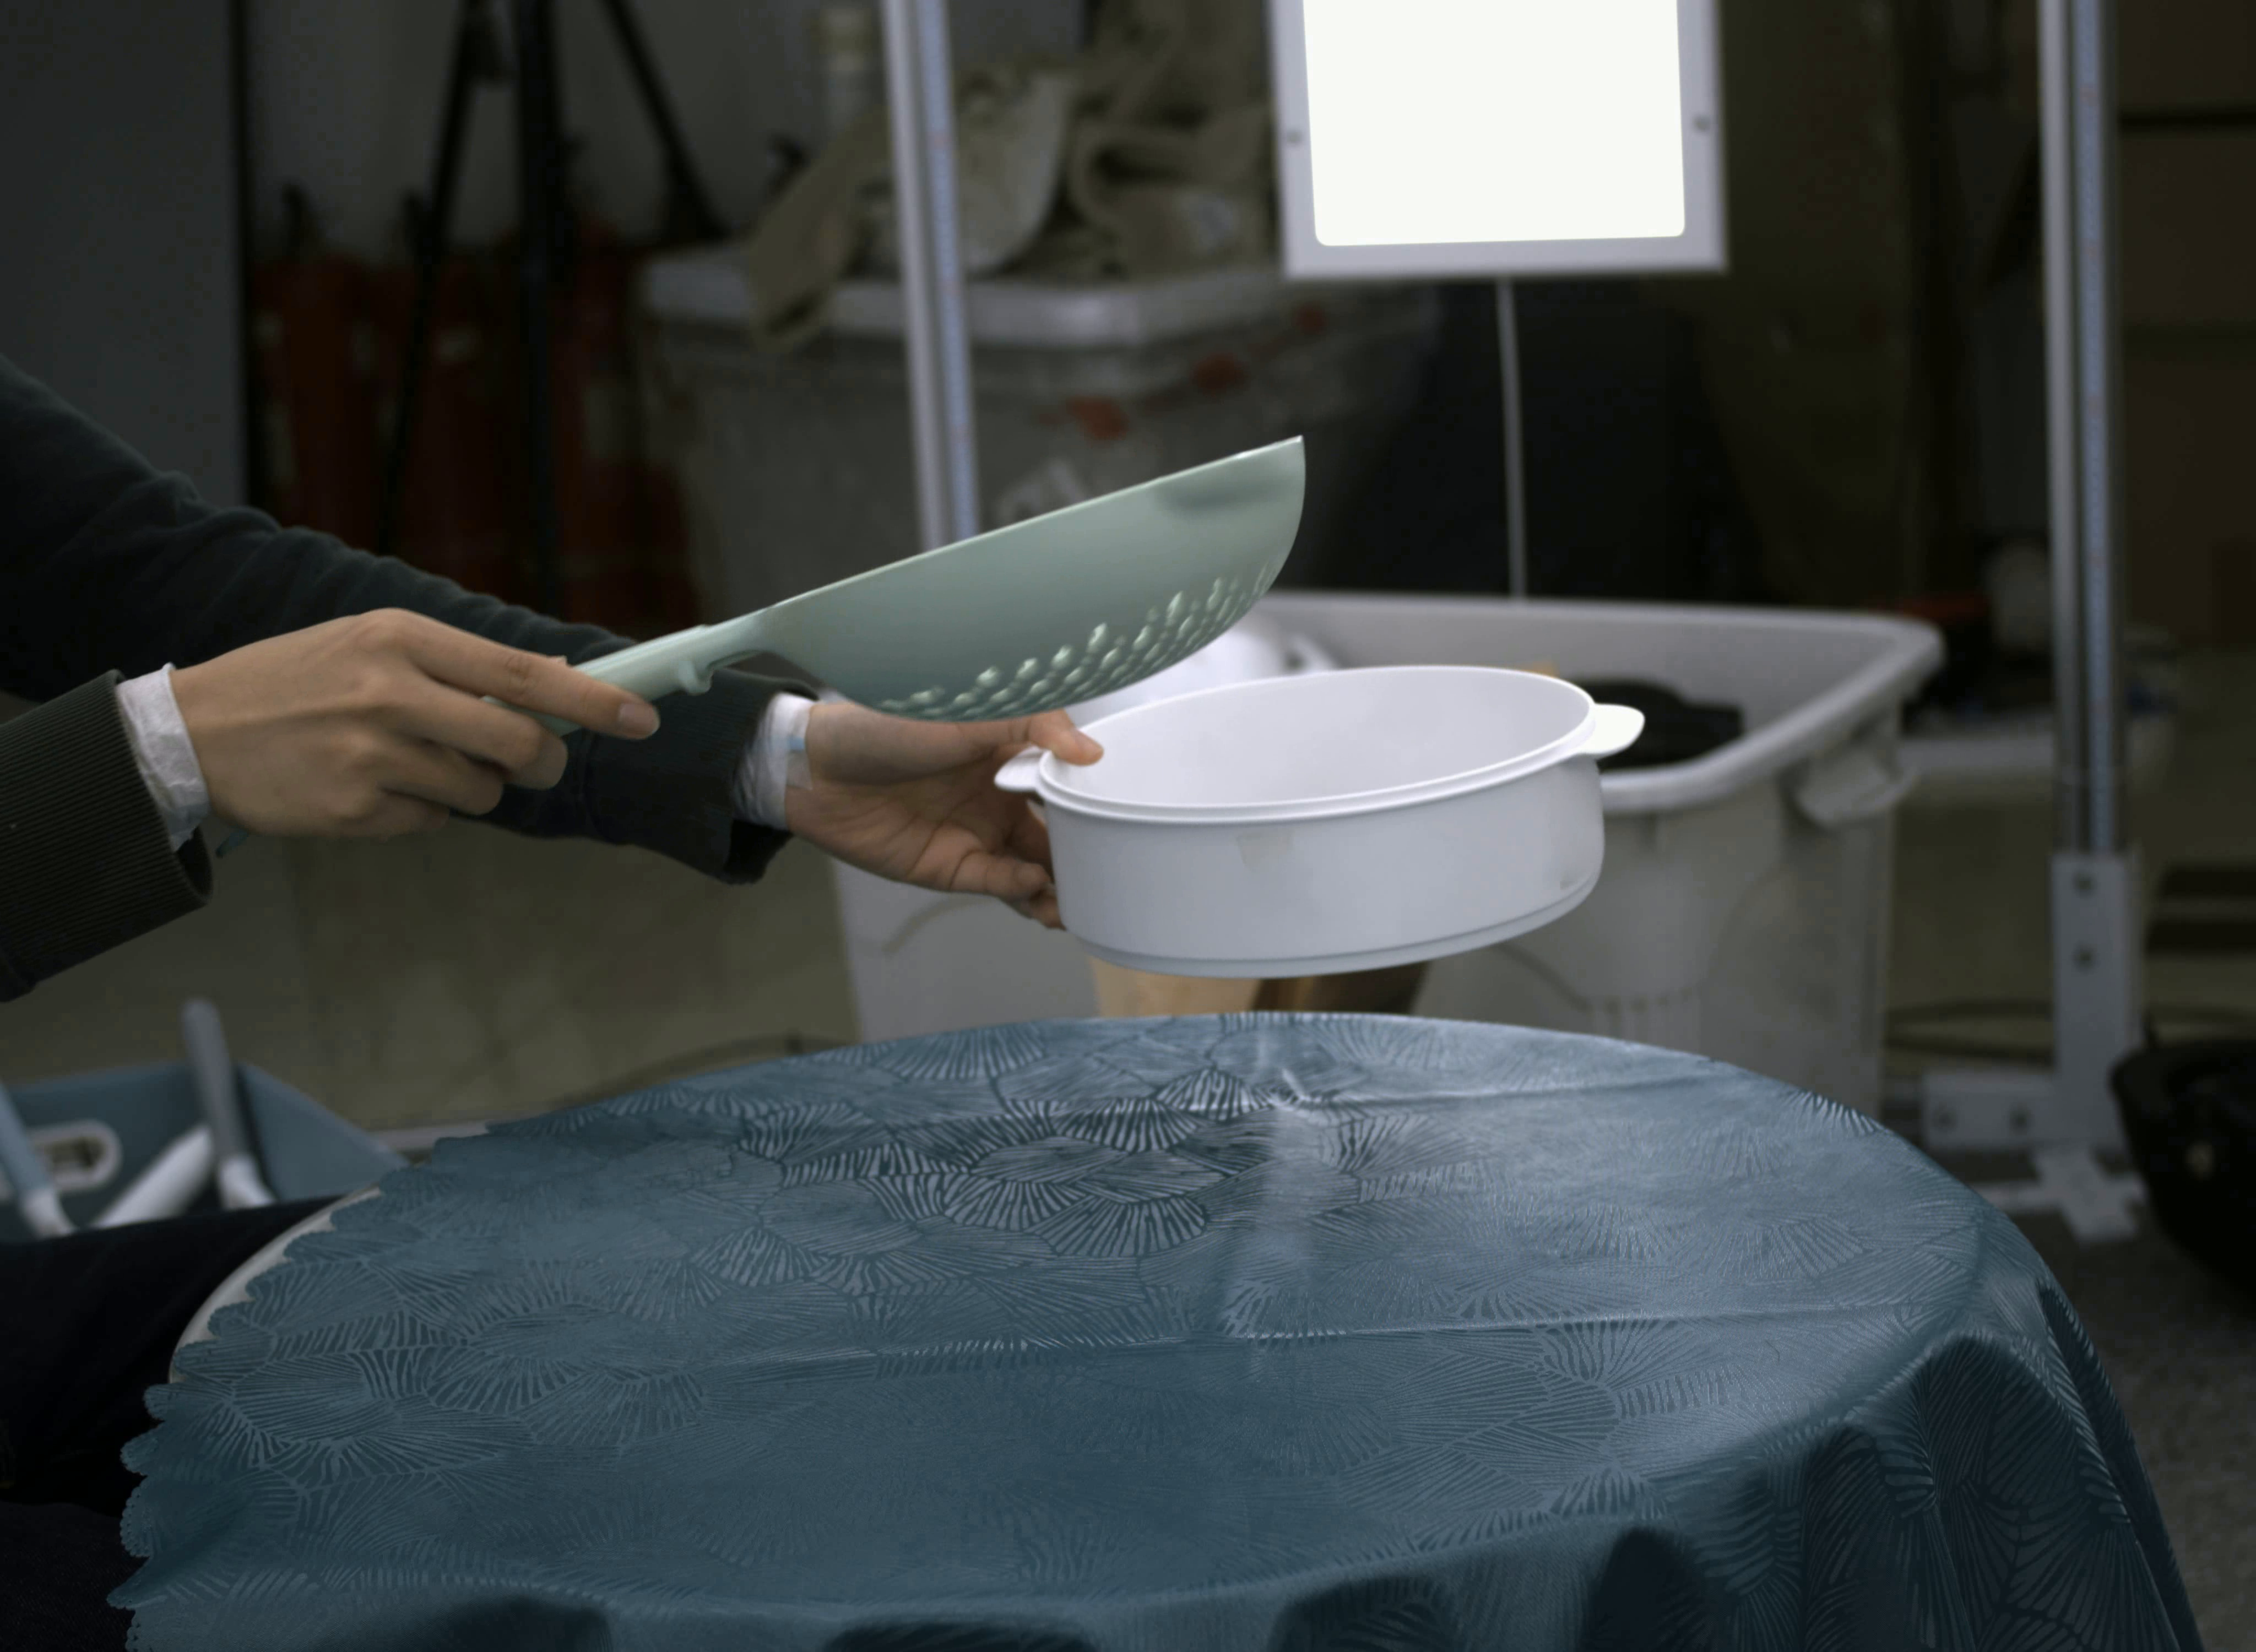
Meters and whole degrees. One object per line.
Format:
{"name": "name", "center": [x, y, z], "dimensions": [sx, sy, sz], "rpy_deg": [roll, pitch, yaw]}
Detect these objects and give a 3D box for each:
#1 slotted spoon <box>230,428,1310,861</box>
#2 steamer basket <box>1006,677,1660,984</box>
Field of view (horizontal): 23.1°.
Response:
{"name": "slotted spoon", "center": [-0.114, -0.055, 1.699], "dimensions": [0.361, 0.075, 0.168], "rpy_deg": [-9, 4, 11]}
{"name": "steamer basket", "center": [0.074, 0.001, 1.924], "dimensions": [0.233, 0.069, 0.199], "rpy_deg": [-4, 13, 15]}
